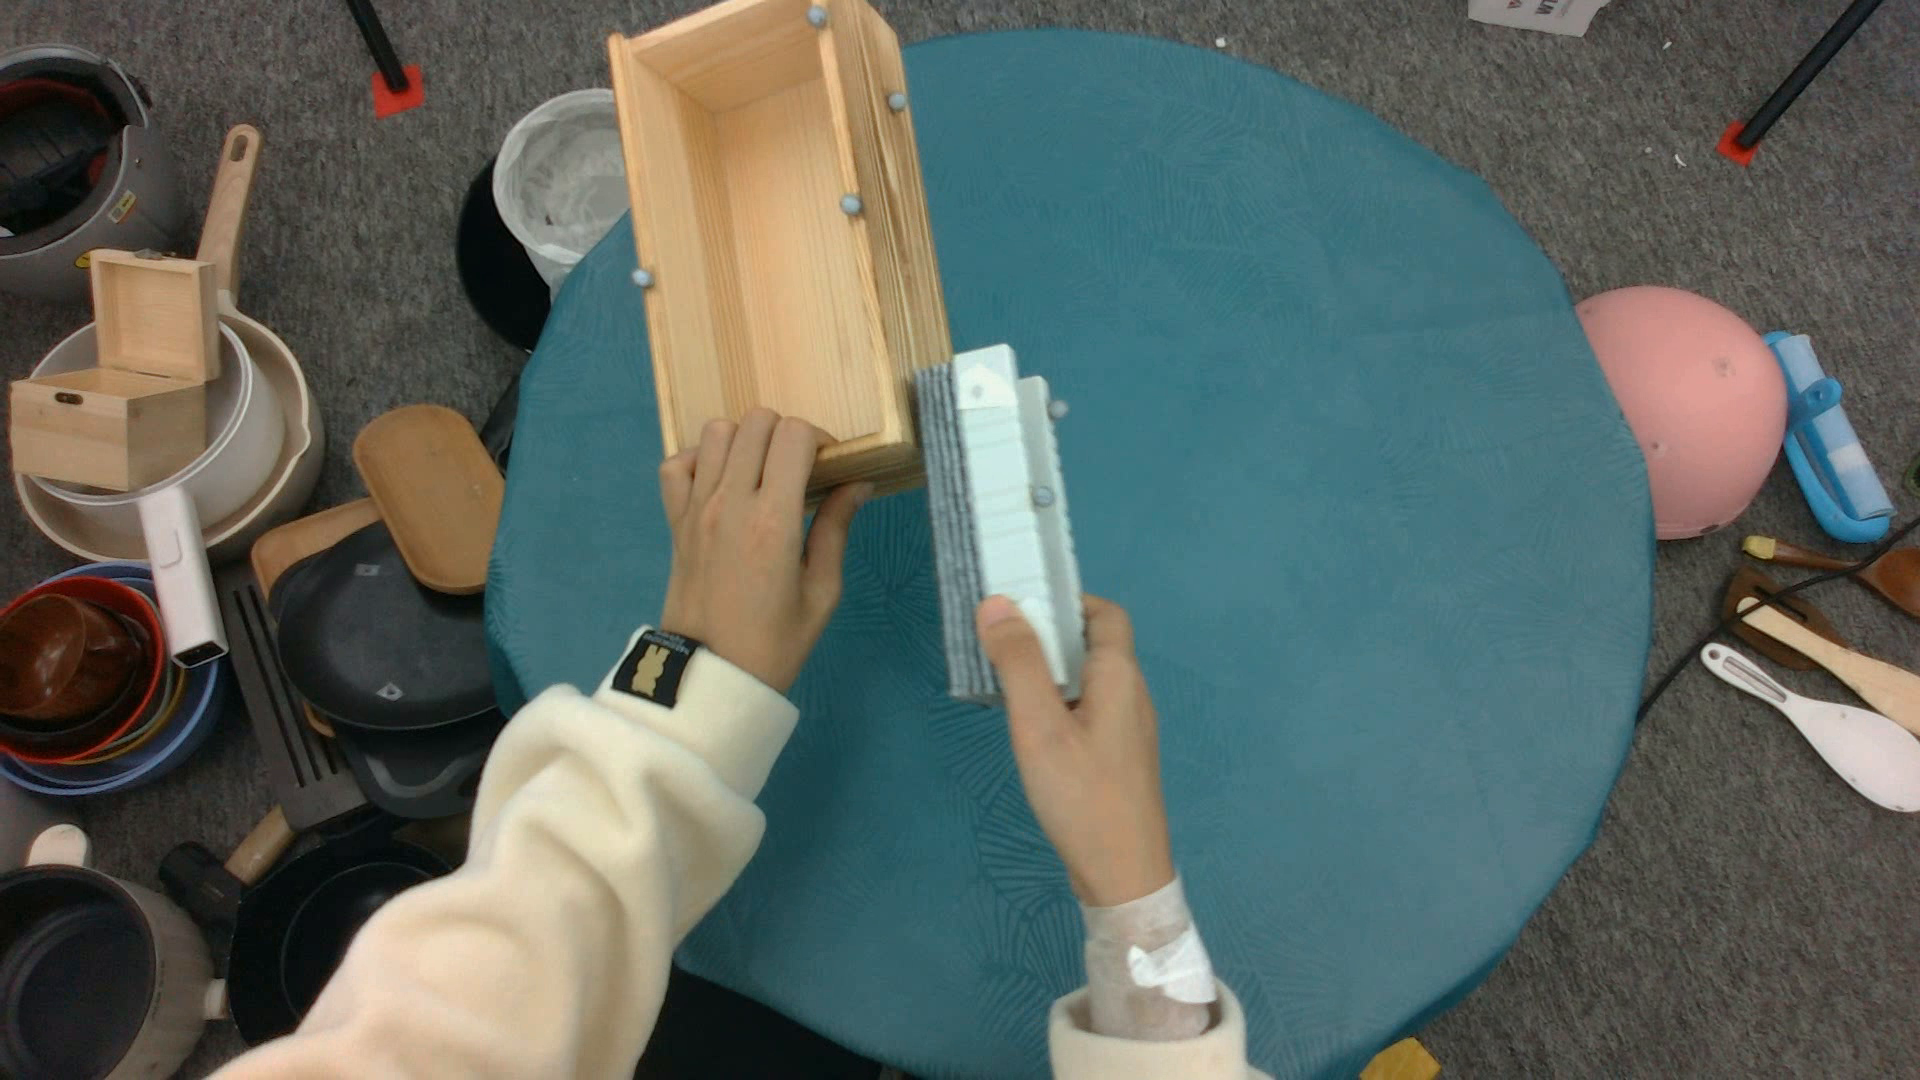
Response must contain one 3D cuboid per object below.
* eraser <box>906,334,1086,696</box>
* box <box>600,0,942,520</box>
[{"bbox_3d":[0.014,-0.008,0.541,0.046,0.050,0.134,-13,76,17],"label":"eraser"},{"bbox_3d":[-0.079,-0.126,0.602,0.107,0.080,0.212,-14,78,19],"label":"box"}]
